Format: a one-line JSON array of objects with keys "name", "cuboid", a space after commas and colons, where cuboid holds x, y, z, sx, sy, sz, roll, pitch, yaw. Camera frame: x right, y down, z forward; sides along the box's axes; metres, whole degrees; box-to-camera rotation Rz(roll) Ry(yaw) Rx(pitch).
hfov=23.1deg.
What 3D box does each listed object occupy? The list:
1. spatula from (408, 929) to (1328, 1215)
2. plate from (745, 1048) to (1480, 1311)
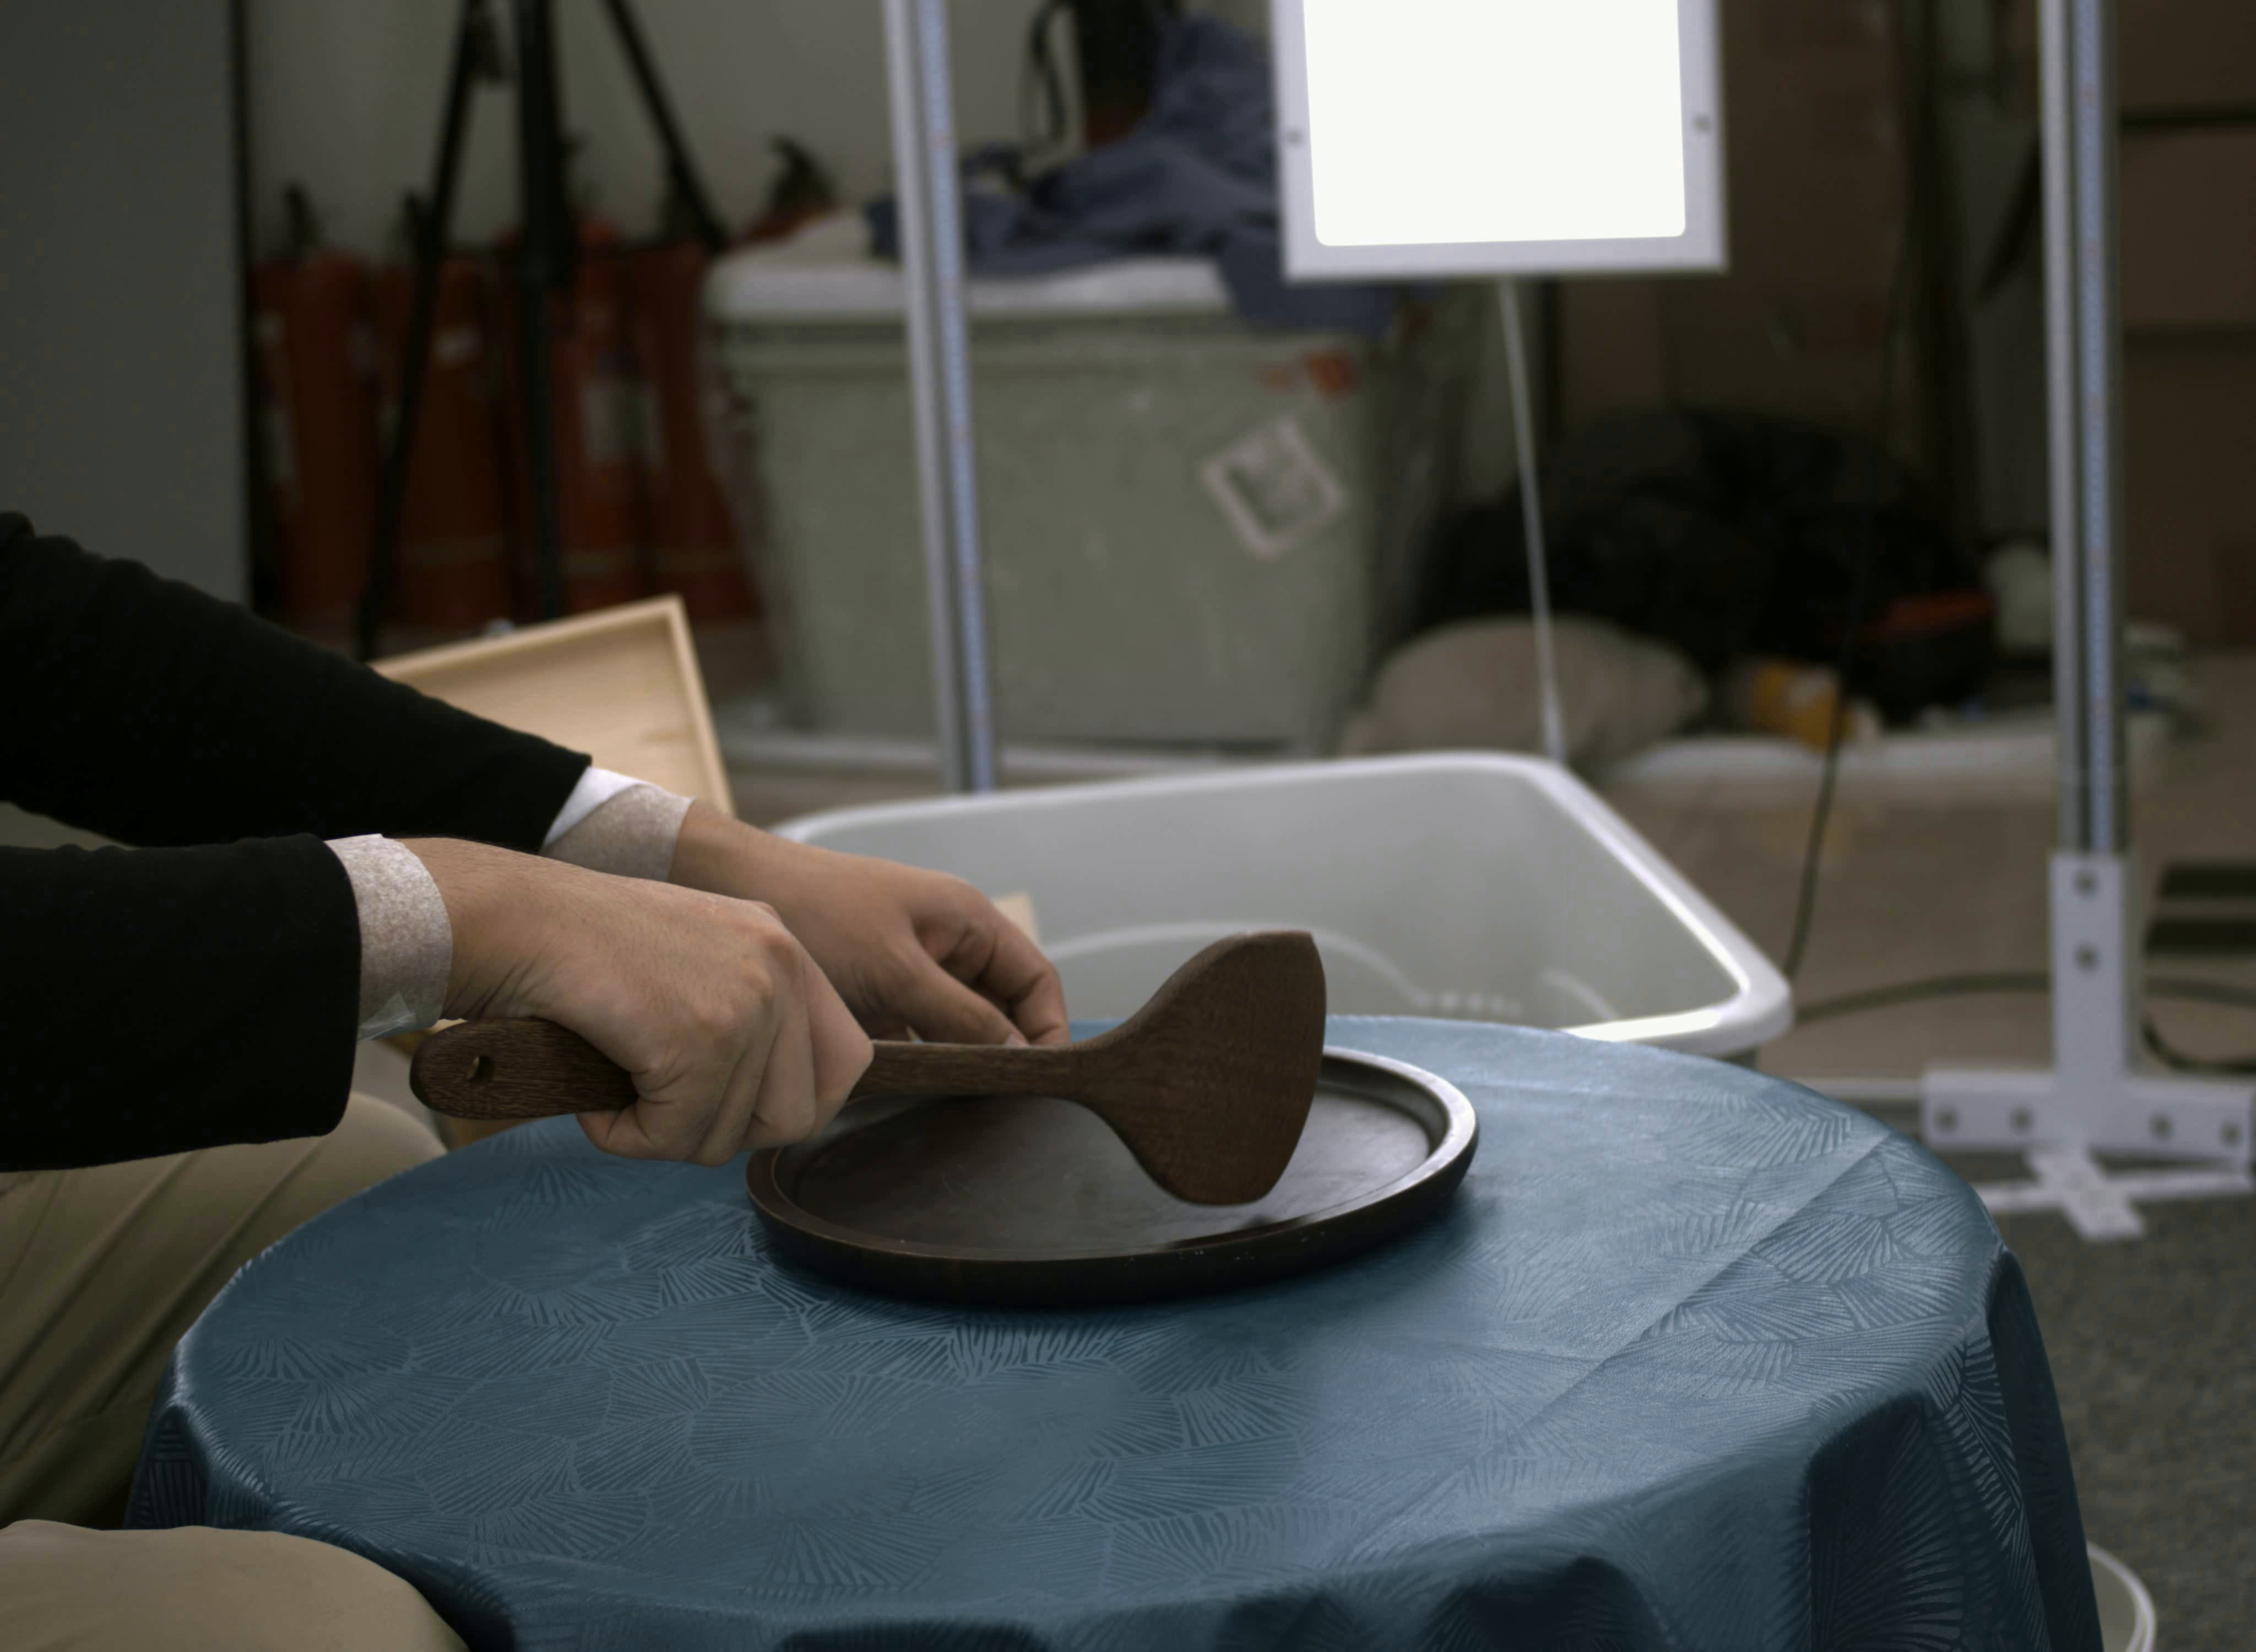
[{"name": "spatula", "cuboid": [-0.070, 0.073, 1.697, 0.376, 0.096, 0.016, 4, 9, -43]}, {"name": "plate", "cuboid": [-0.005, 0.117, 1.887, 0.254, 0.029, 0.254, -5, 15, 0]}]
